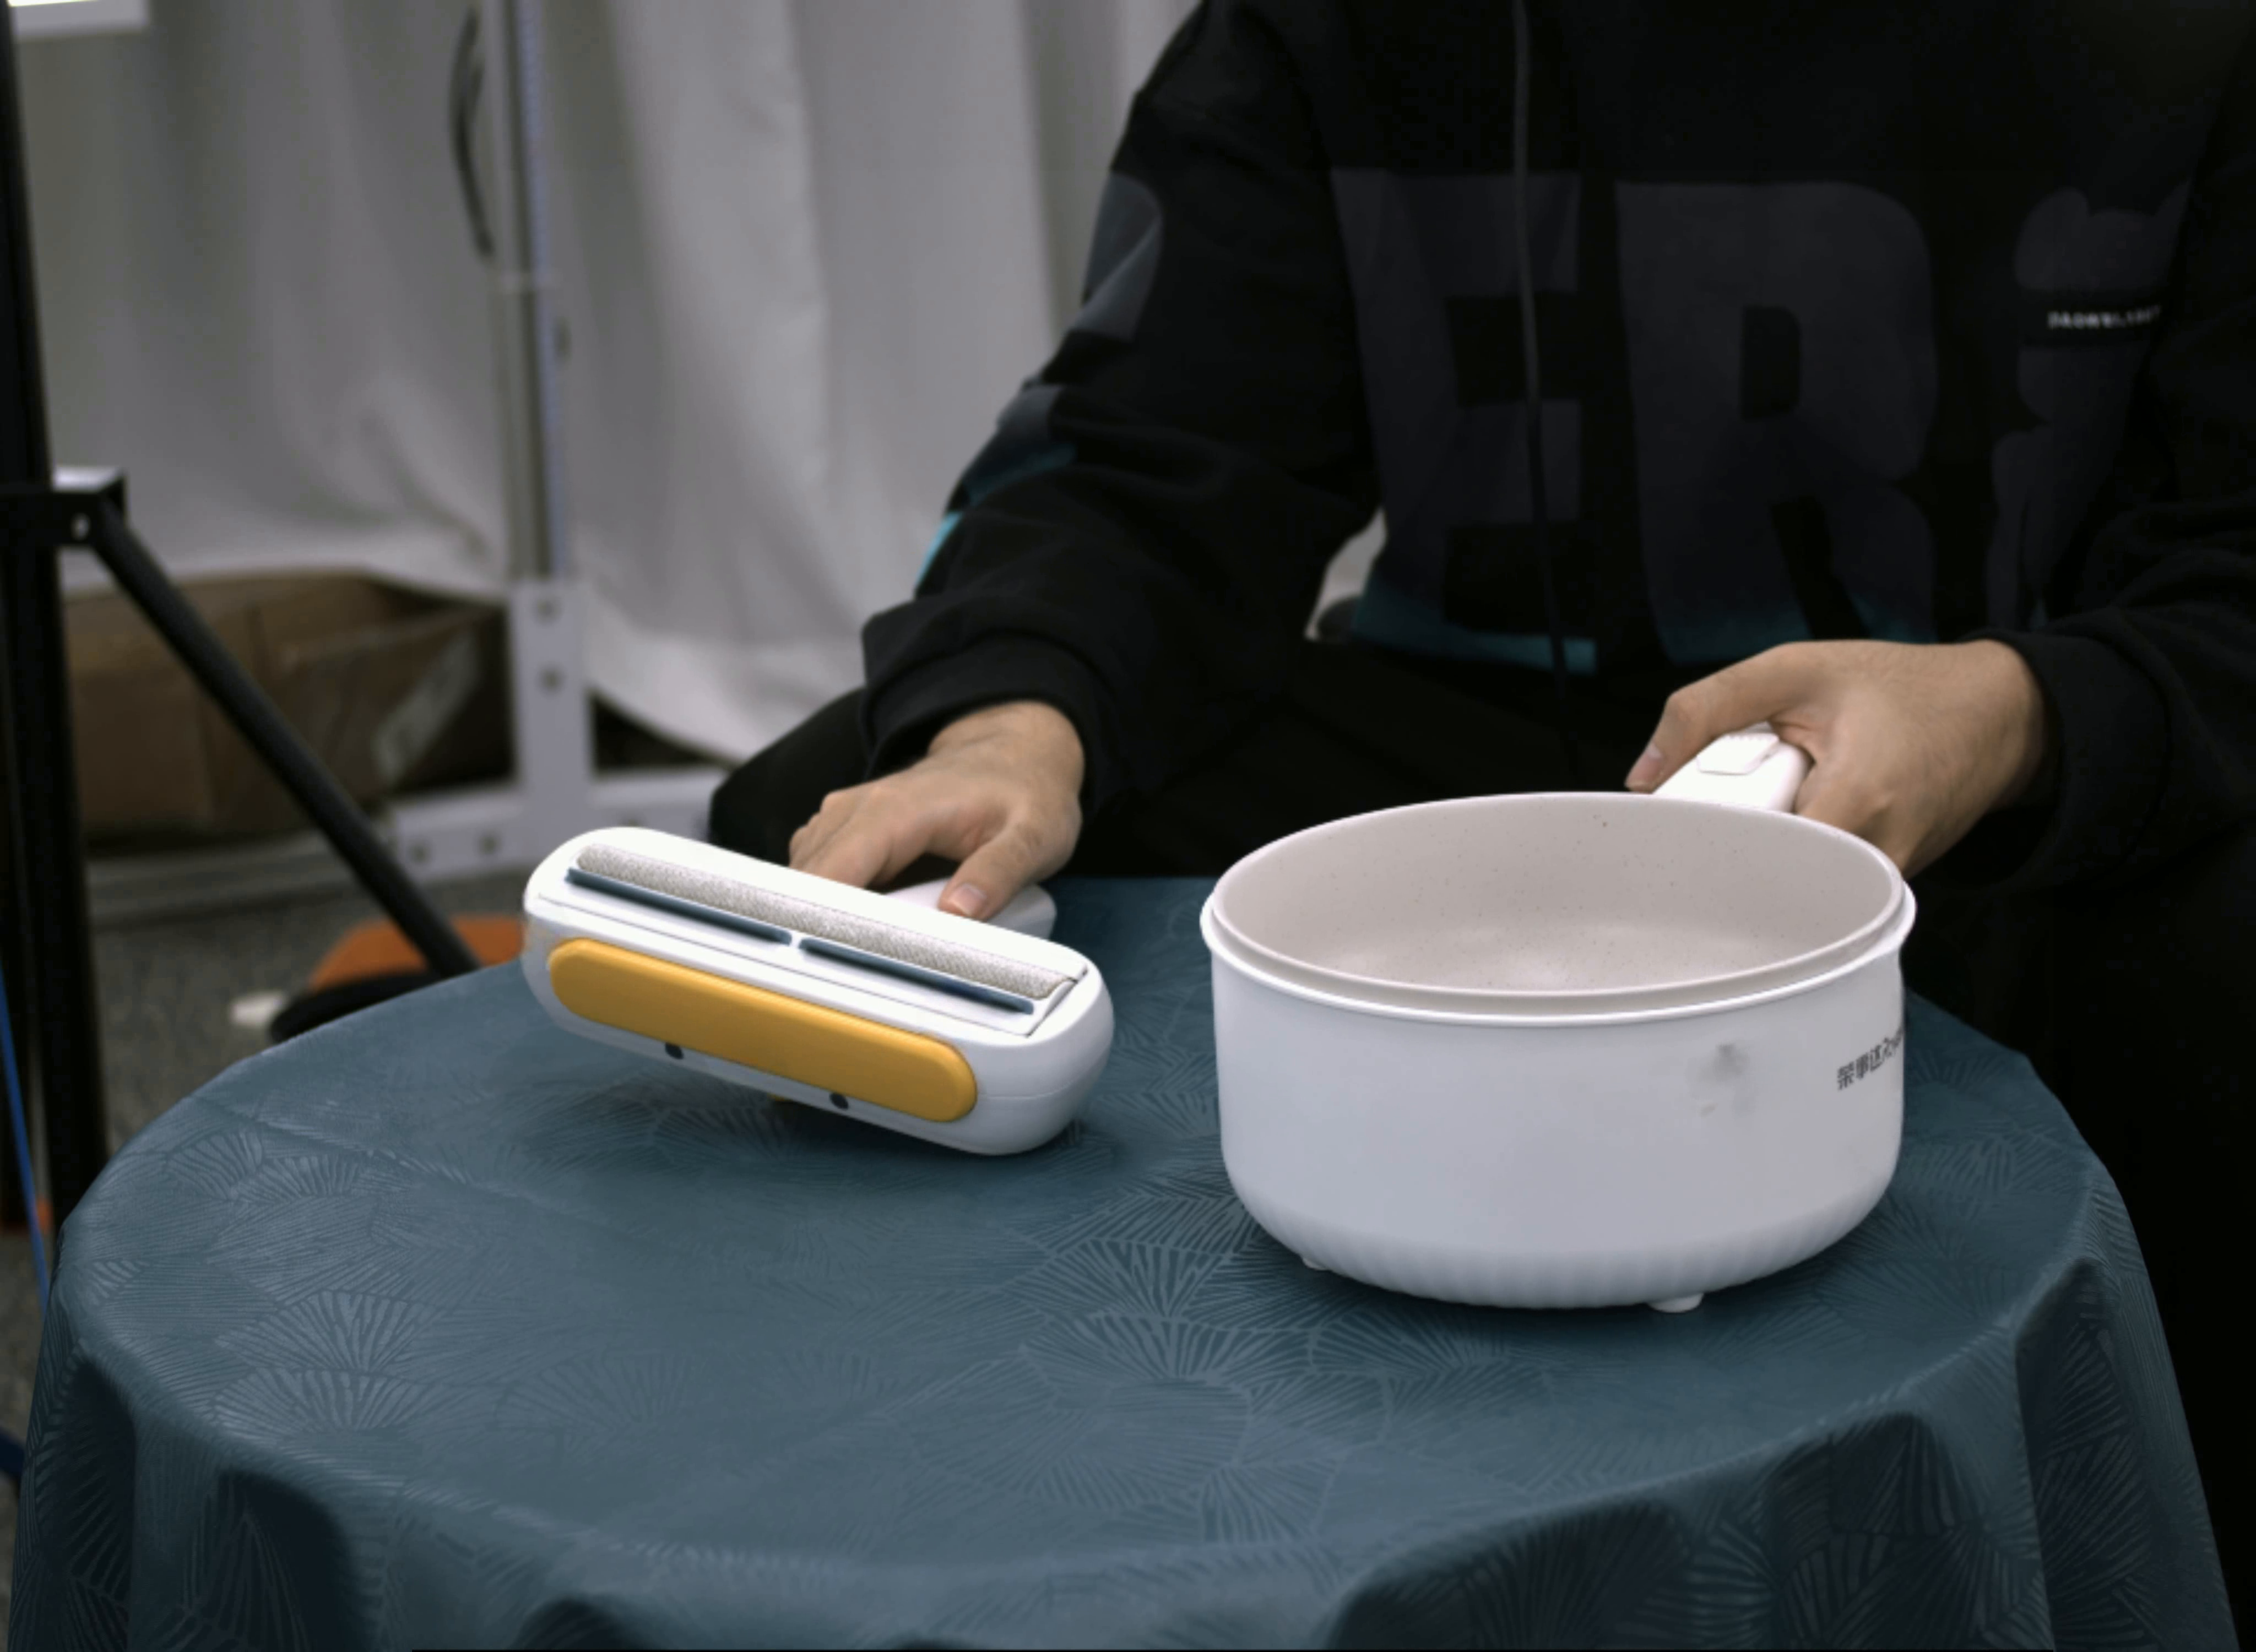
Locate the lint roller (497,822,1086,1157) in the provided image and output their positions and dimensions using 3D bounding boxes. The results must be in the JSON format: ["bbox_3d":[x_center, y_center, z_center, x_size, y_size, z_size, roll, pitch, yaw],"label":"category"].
[{"bbox_3d":[-0.076,0.037,1.681,0.196,0.074,0.189,12,25,28],"label":"lint roller"}]

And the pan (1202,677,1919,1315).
[{"bbox_3d":[0.154,0.045,1.564,0.204,0.102,0.349,4,17,25],"label":"pan"}]
